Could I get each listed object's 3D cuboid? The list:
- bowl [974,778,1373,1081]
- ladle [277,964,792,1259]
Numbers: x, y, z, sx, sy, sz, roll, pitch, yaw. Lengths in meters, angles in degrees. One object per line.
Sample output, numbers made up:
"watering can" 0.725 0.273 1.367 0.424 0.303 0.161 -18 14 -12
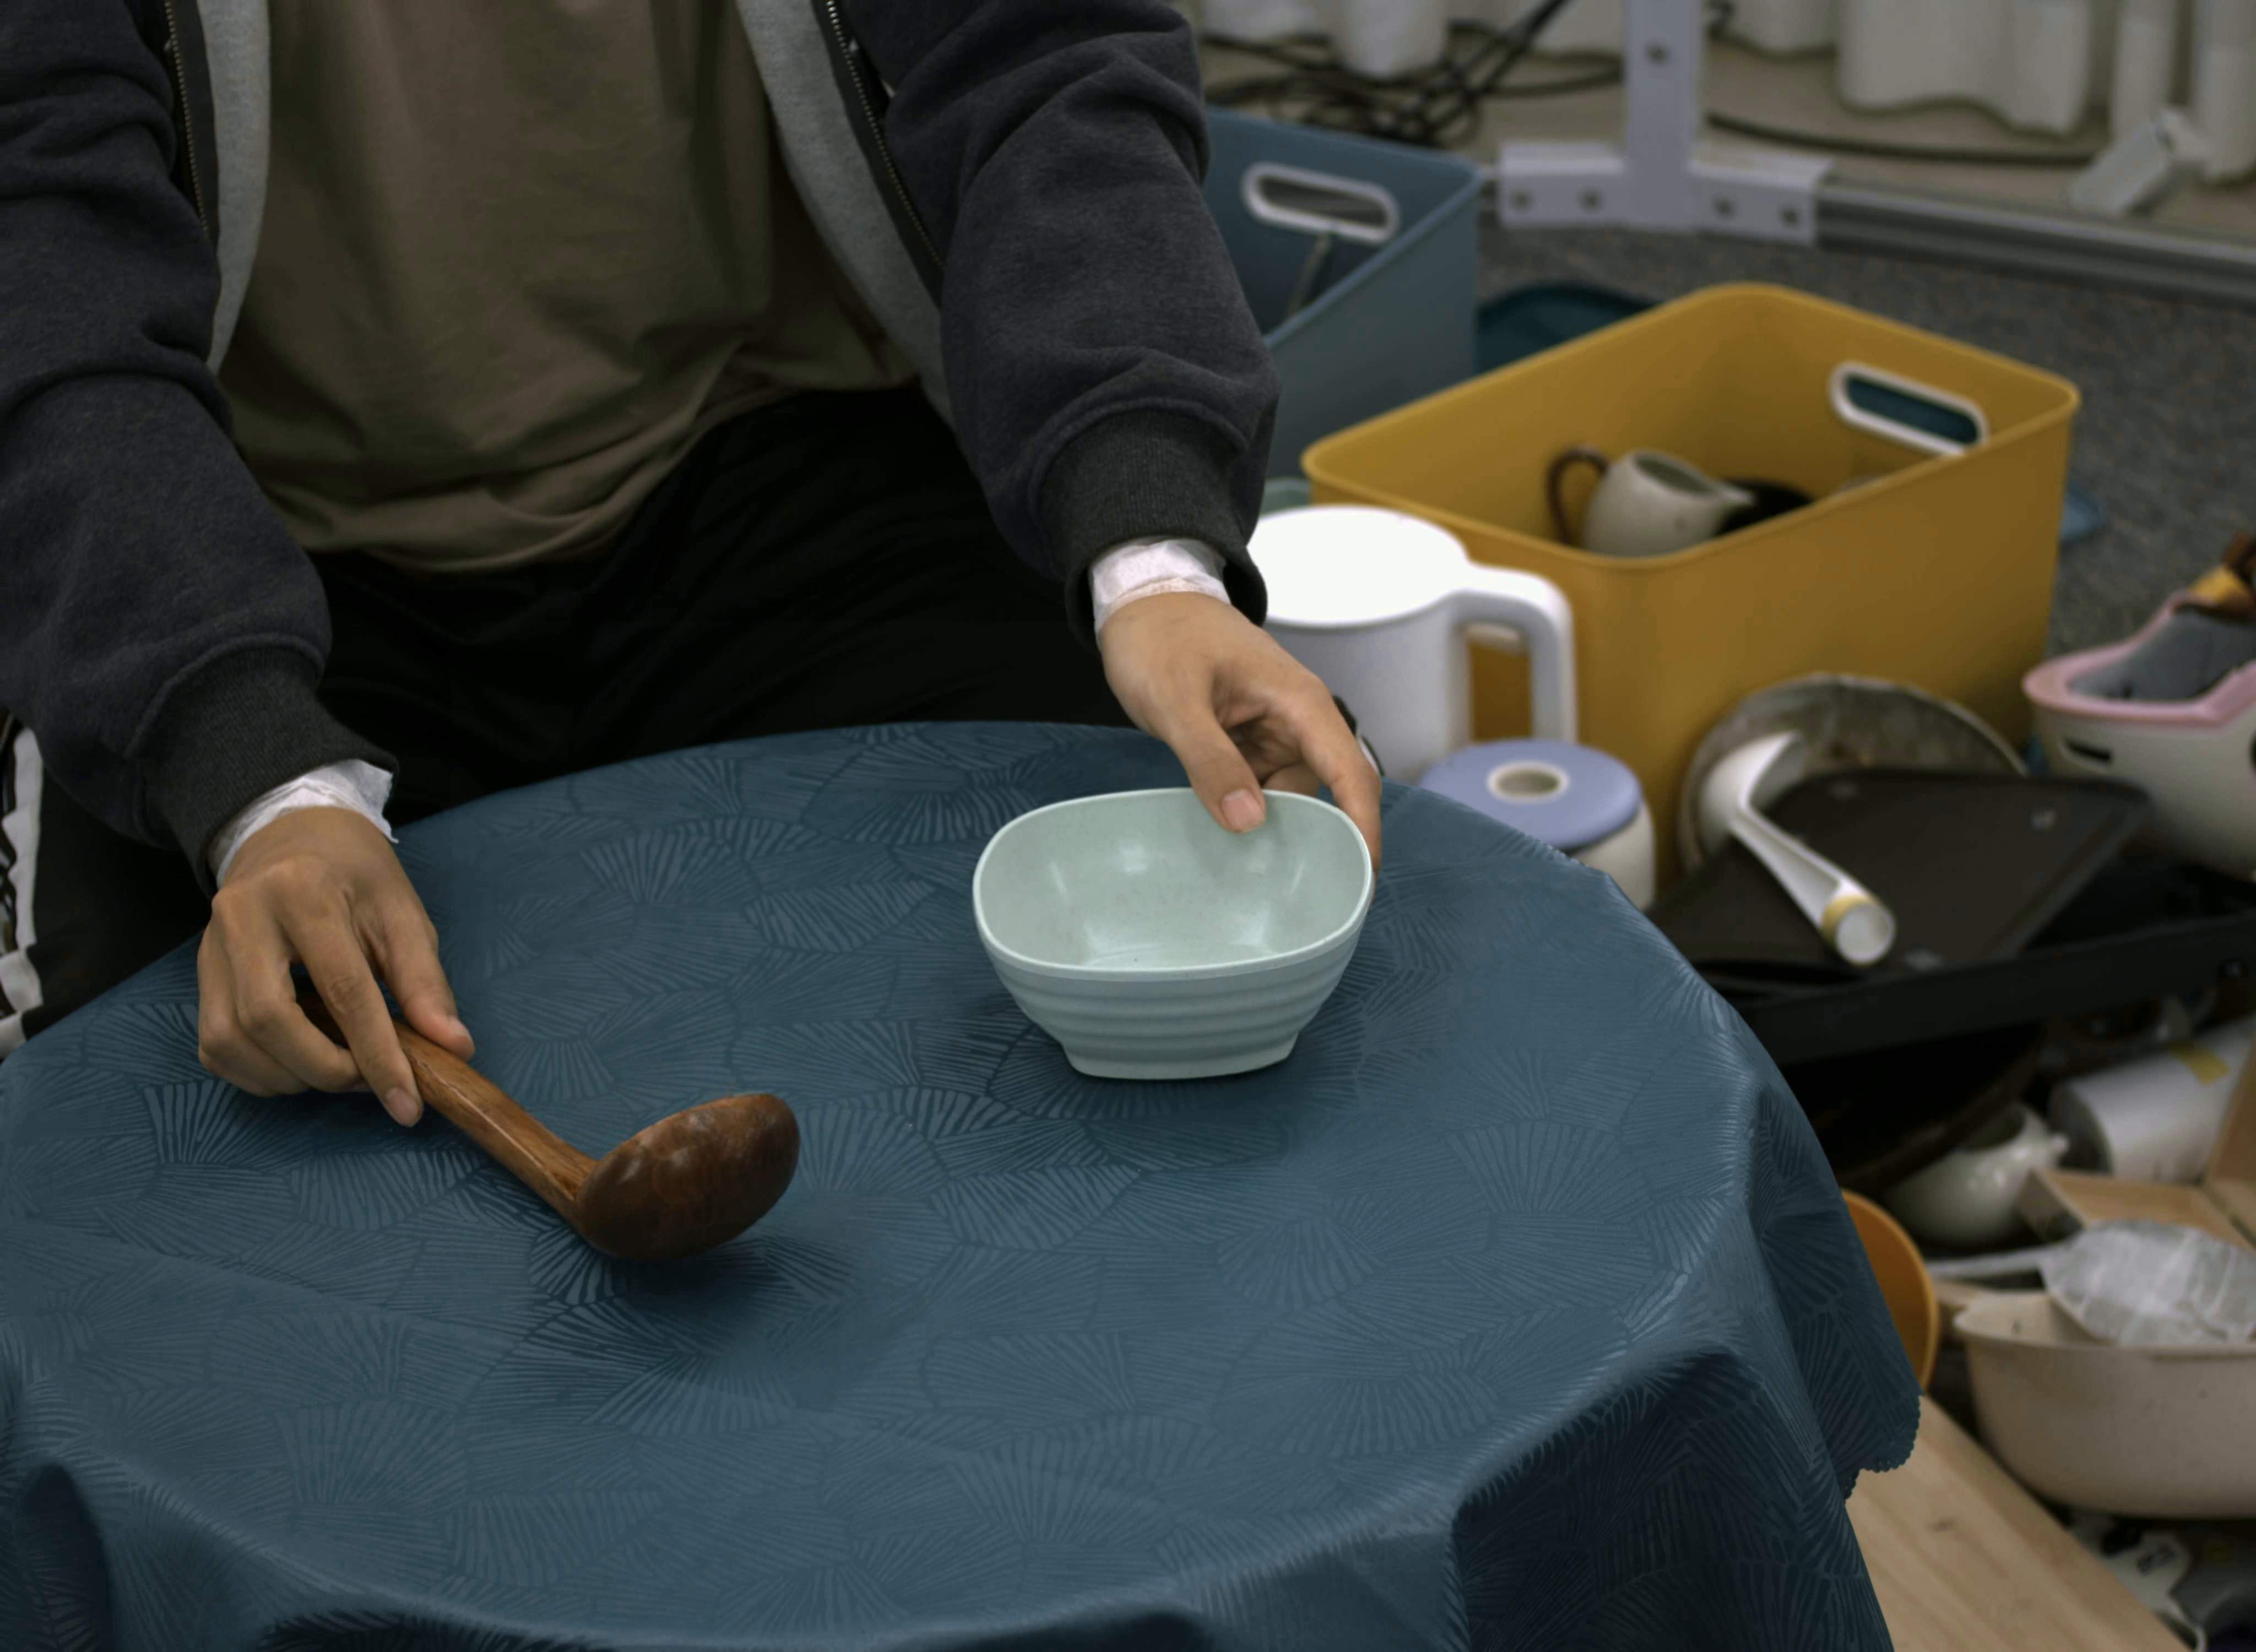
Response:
"bowl" 0.017 0.042 1.949 0.150 0.058 0.154 -3 28 2
"ladle" -0.210 0.074 1.884 0.082 0.076 0.274 -6 25 -38
